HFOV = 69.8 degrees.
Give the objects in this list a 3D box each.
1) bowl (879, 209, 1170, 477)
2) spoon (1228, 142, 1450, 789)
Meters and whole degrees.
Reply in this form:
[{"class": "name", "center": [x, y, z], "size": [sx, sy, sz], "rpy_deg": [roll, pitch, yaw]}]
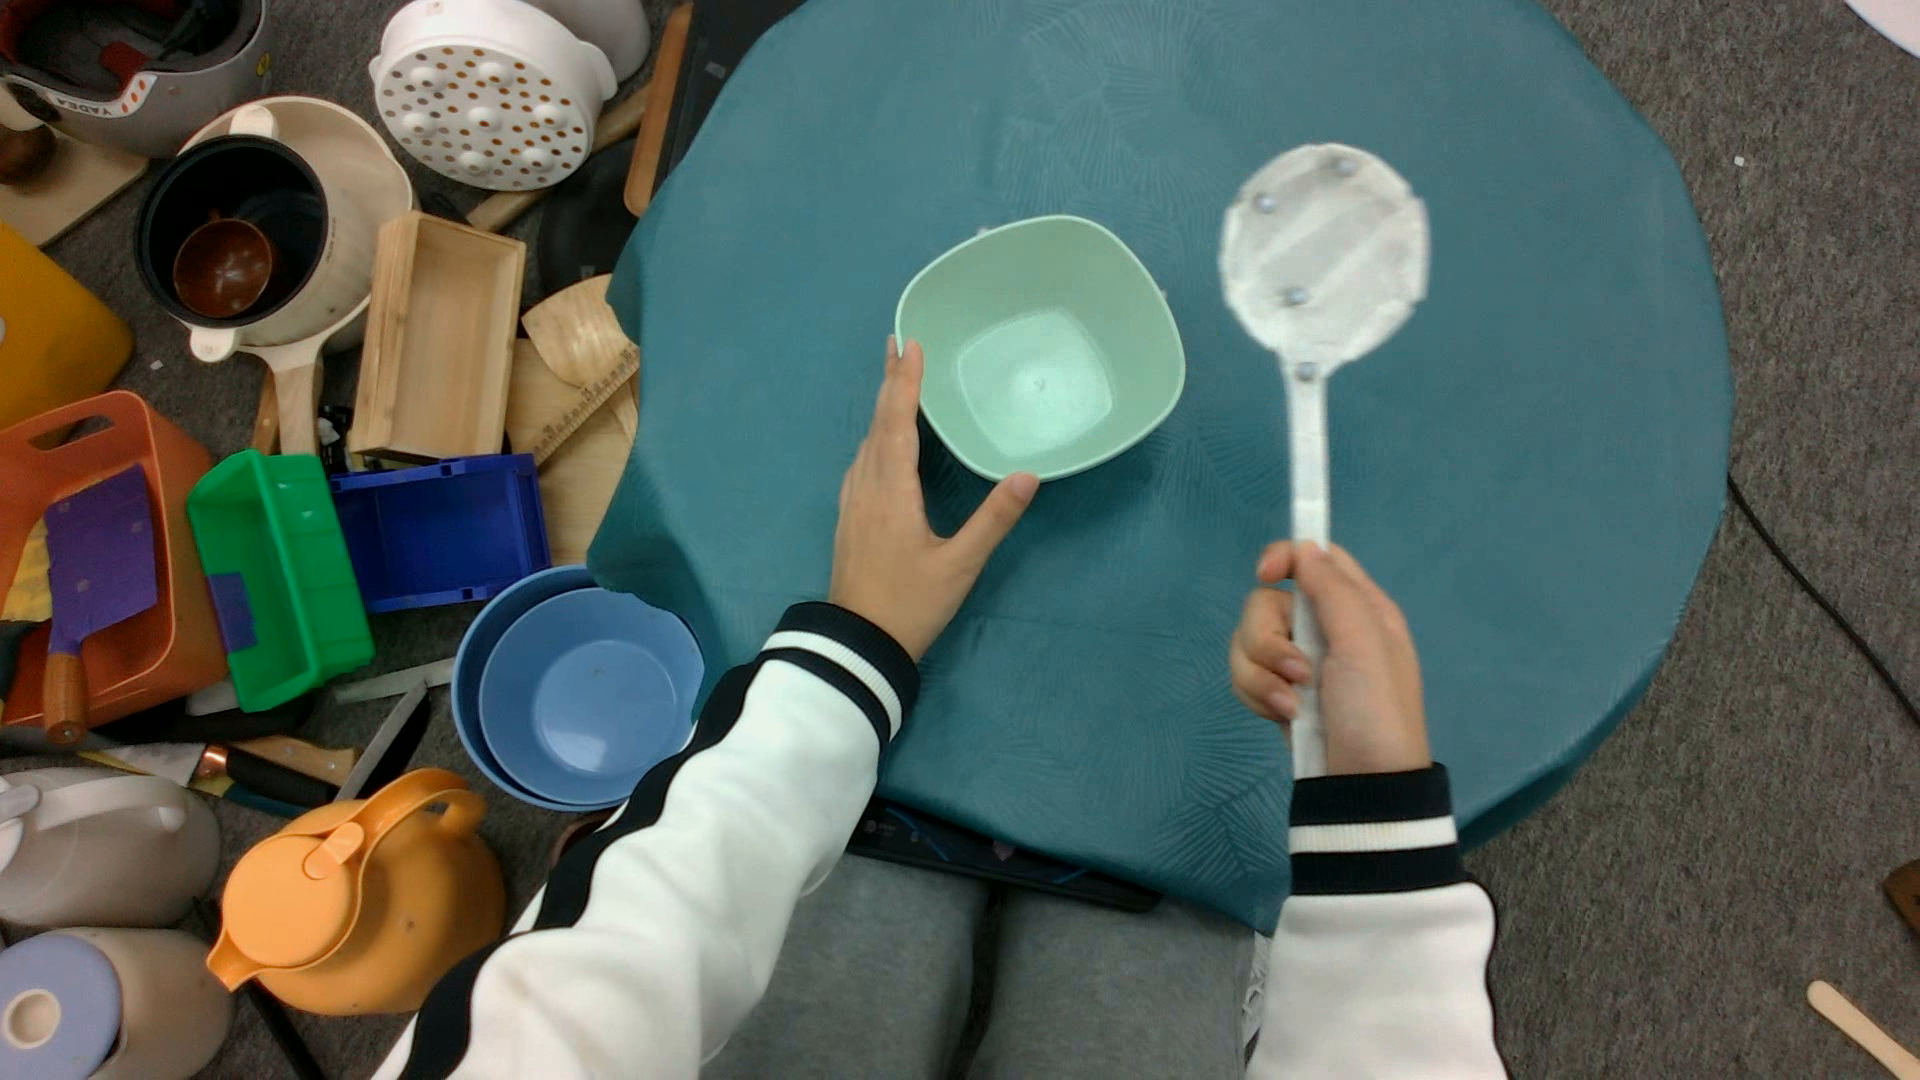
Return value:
[{"class": "bowl", "center": [0.032, -0.095, 0.724], "size": [0.151, 0.058, 0.152], "rpy_deg": [0, 73, -1]}, {"class": "spoon", "center": [0.148, -0.038, 0.574], "size": [0.100, 0.059, 0.278], "rpy_deg": [11, 68, 1]}]
